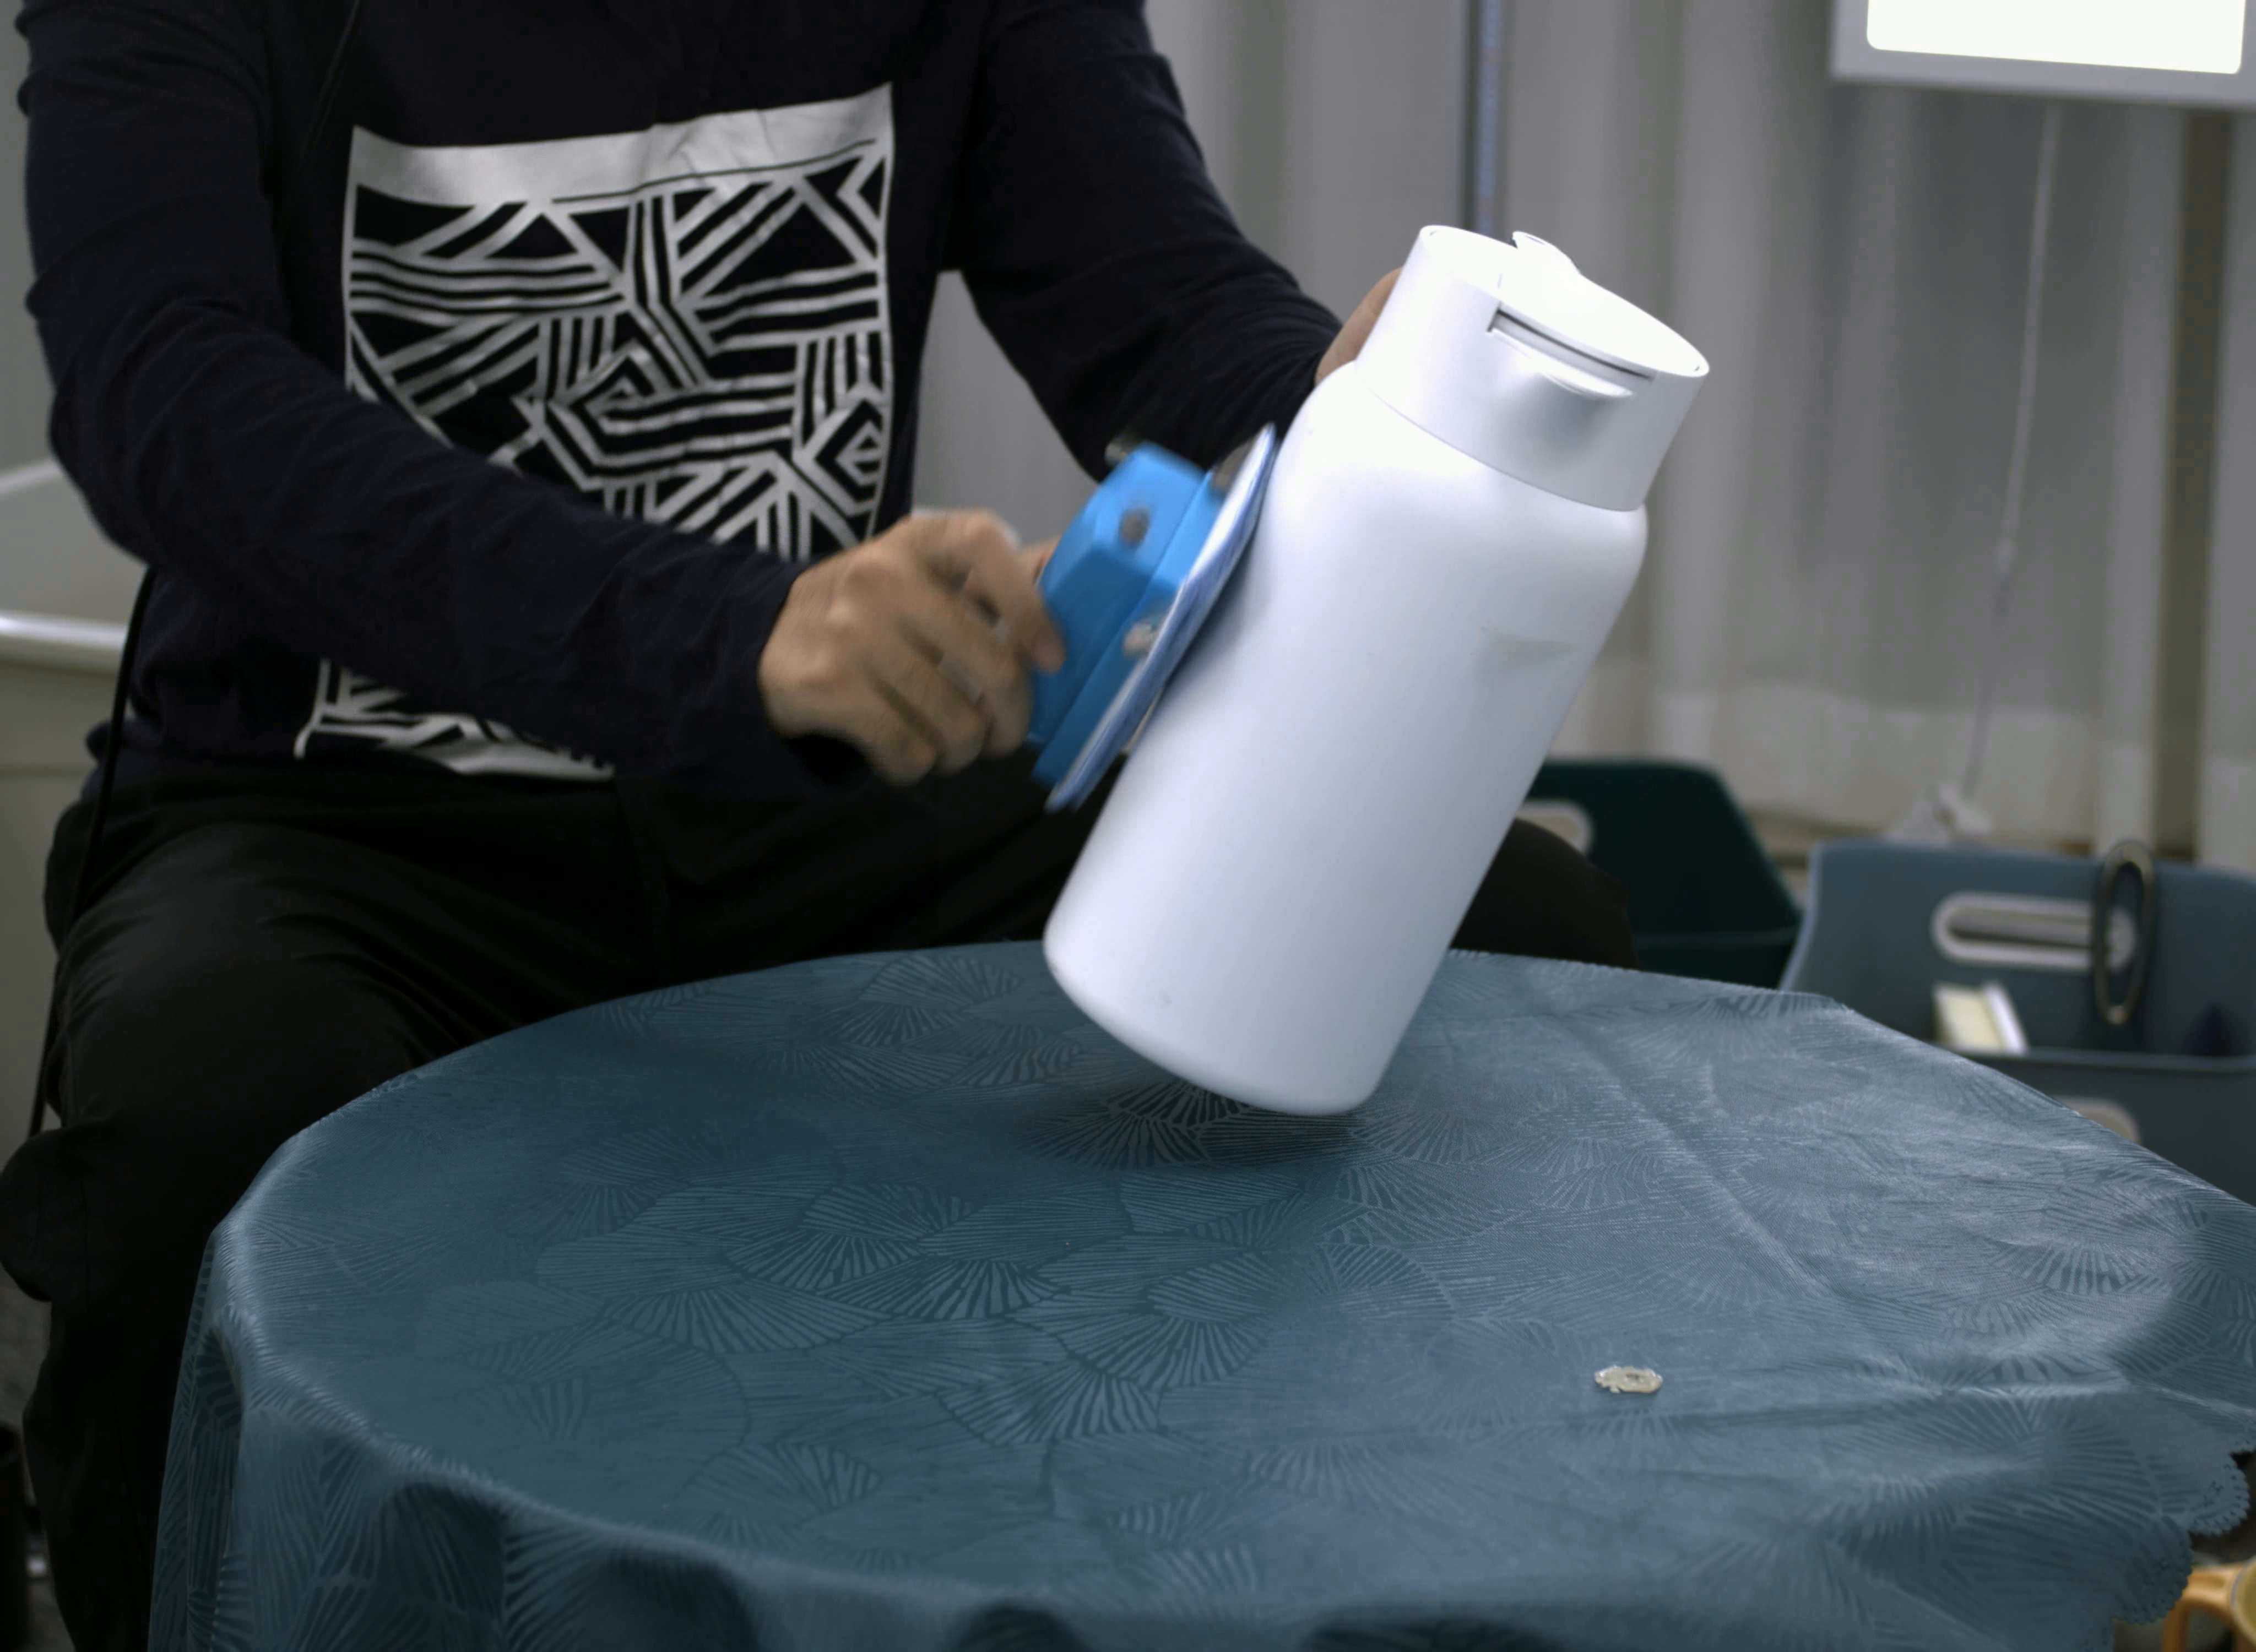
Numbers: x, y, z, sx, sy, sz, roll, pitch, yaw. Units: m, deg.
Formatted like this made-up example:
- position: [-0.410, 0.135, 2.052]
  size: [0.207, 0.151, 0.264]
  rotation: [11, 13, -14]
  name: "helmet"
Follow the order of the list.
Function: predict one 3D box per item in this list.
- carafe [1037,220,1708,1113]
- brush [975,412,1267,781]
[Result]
- position: [0.075, -0.056, 1.660]
  size: [0.124, 0.270, 0.171]
  rotation: [21, 18, -11]
  name: "carafe"
- position: [-0.008, -0.078, 1.658]
  size: [0.056, 0.144, 0.083]
  rotation: [32, 56, -4]
  name: "brush"
